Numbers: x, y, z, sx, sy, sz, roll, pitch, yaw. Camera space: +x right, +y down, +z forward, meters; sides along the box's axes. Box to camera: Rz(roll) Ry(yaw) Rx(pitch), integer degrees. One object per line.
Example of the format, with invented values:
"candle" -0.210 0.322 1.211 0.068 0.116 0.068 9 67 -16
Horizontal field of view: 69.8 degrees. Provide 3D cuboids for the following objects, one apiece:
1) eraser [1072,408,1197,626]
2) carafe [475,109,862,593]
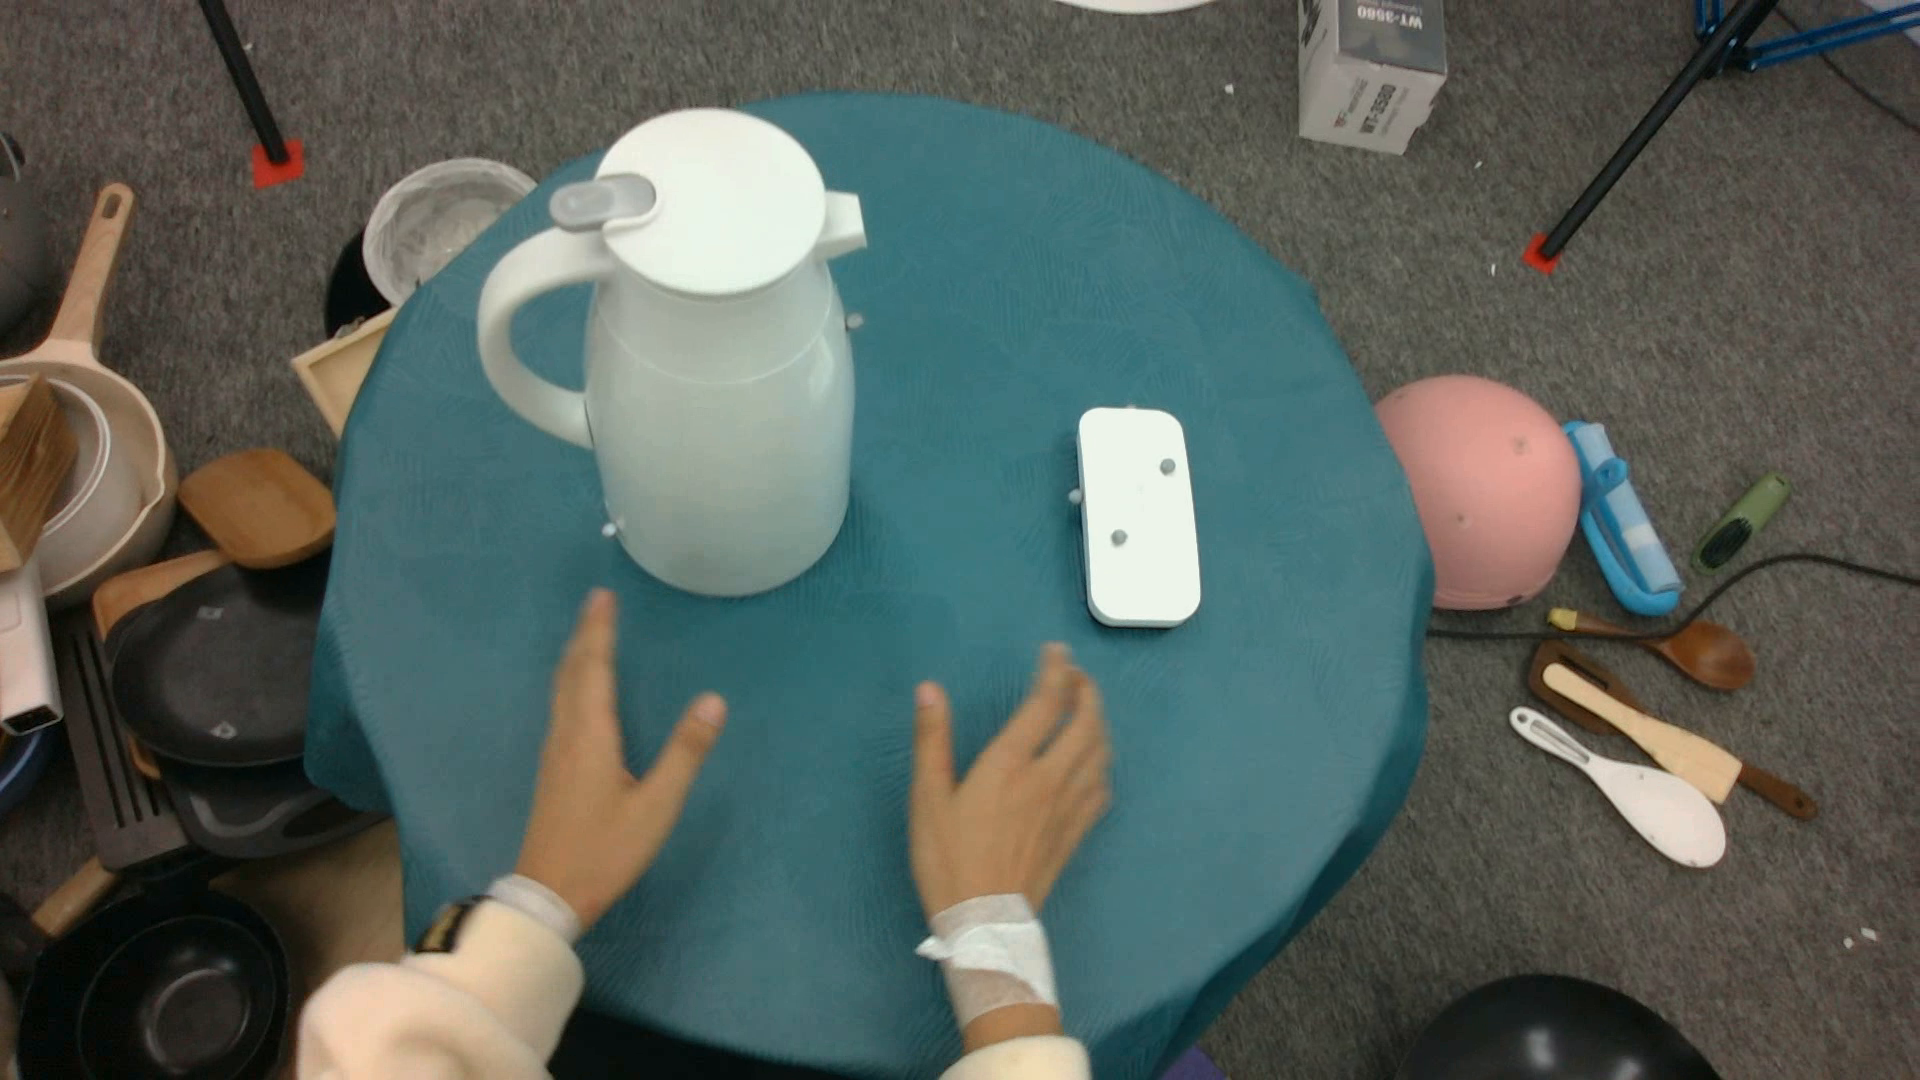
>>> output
"eraser" 0.094 -0.015 0.768 0.063 0.034 0.132 2 63 -6
"carafe" -0.134 -0.082 0.647 0.168 0.247 0.133 -8 65 -11
